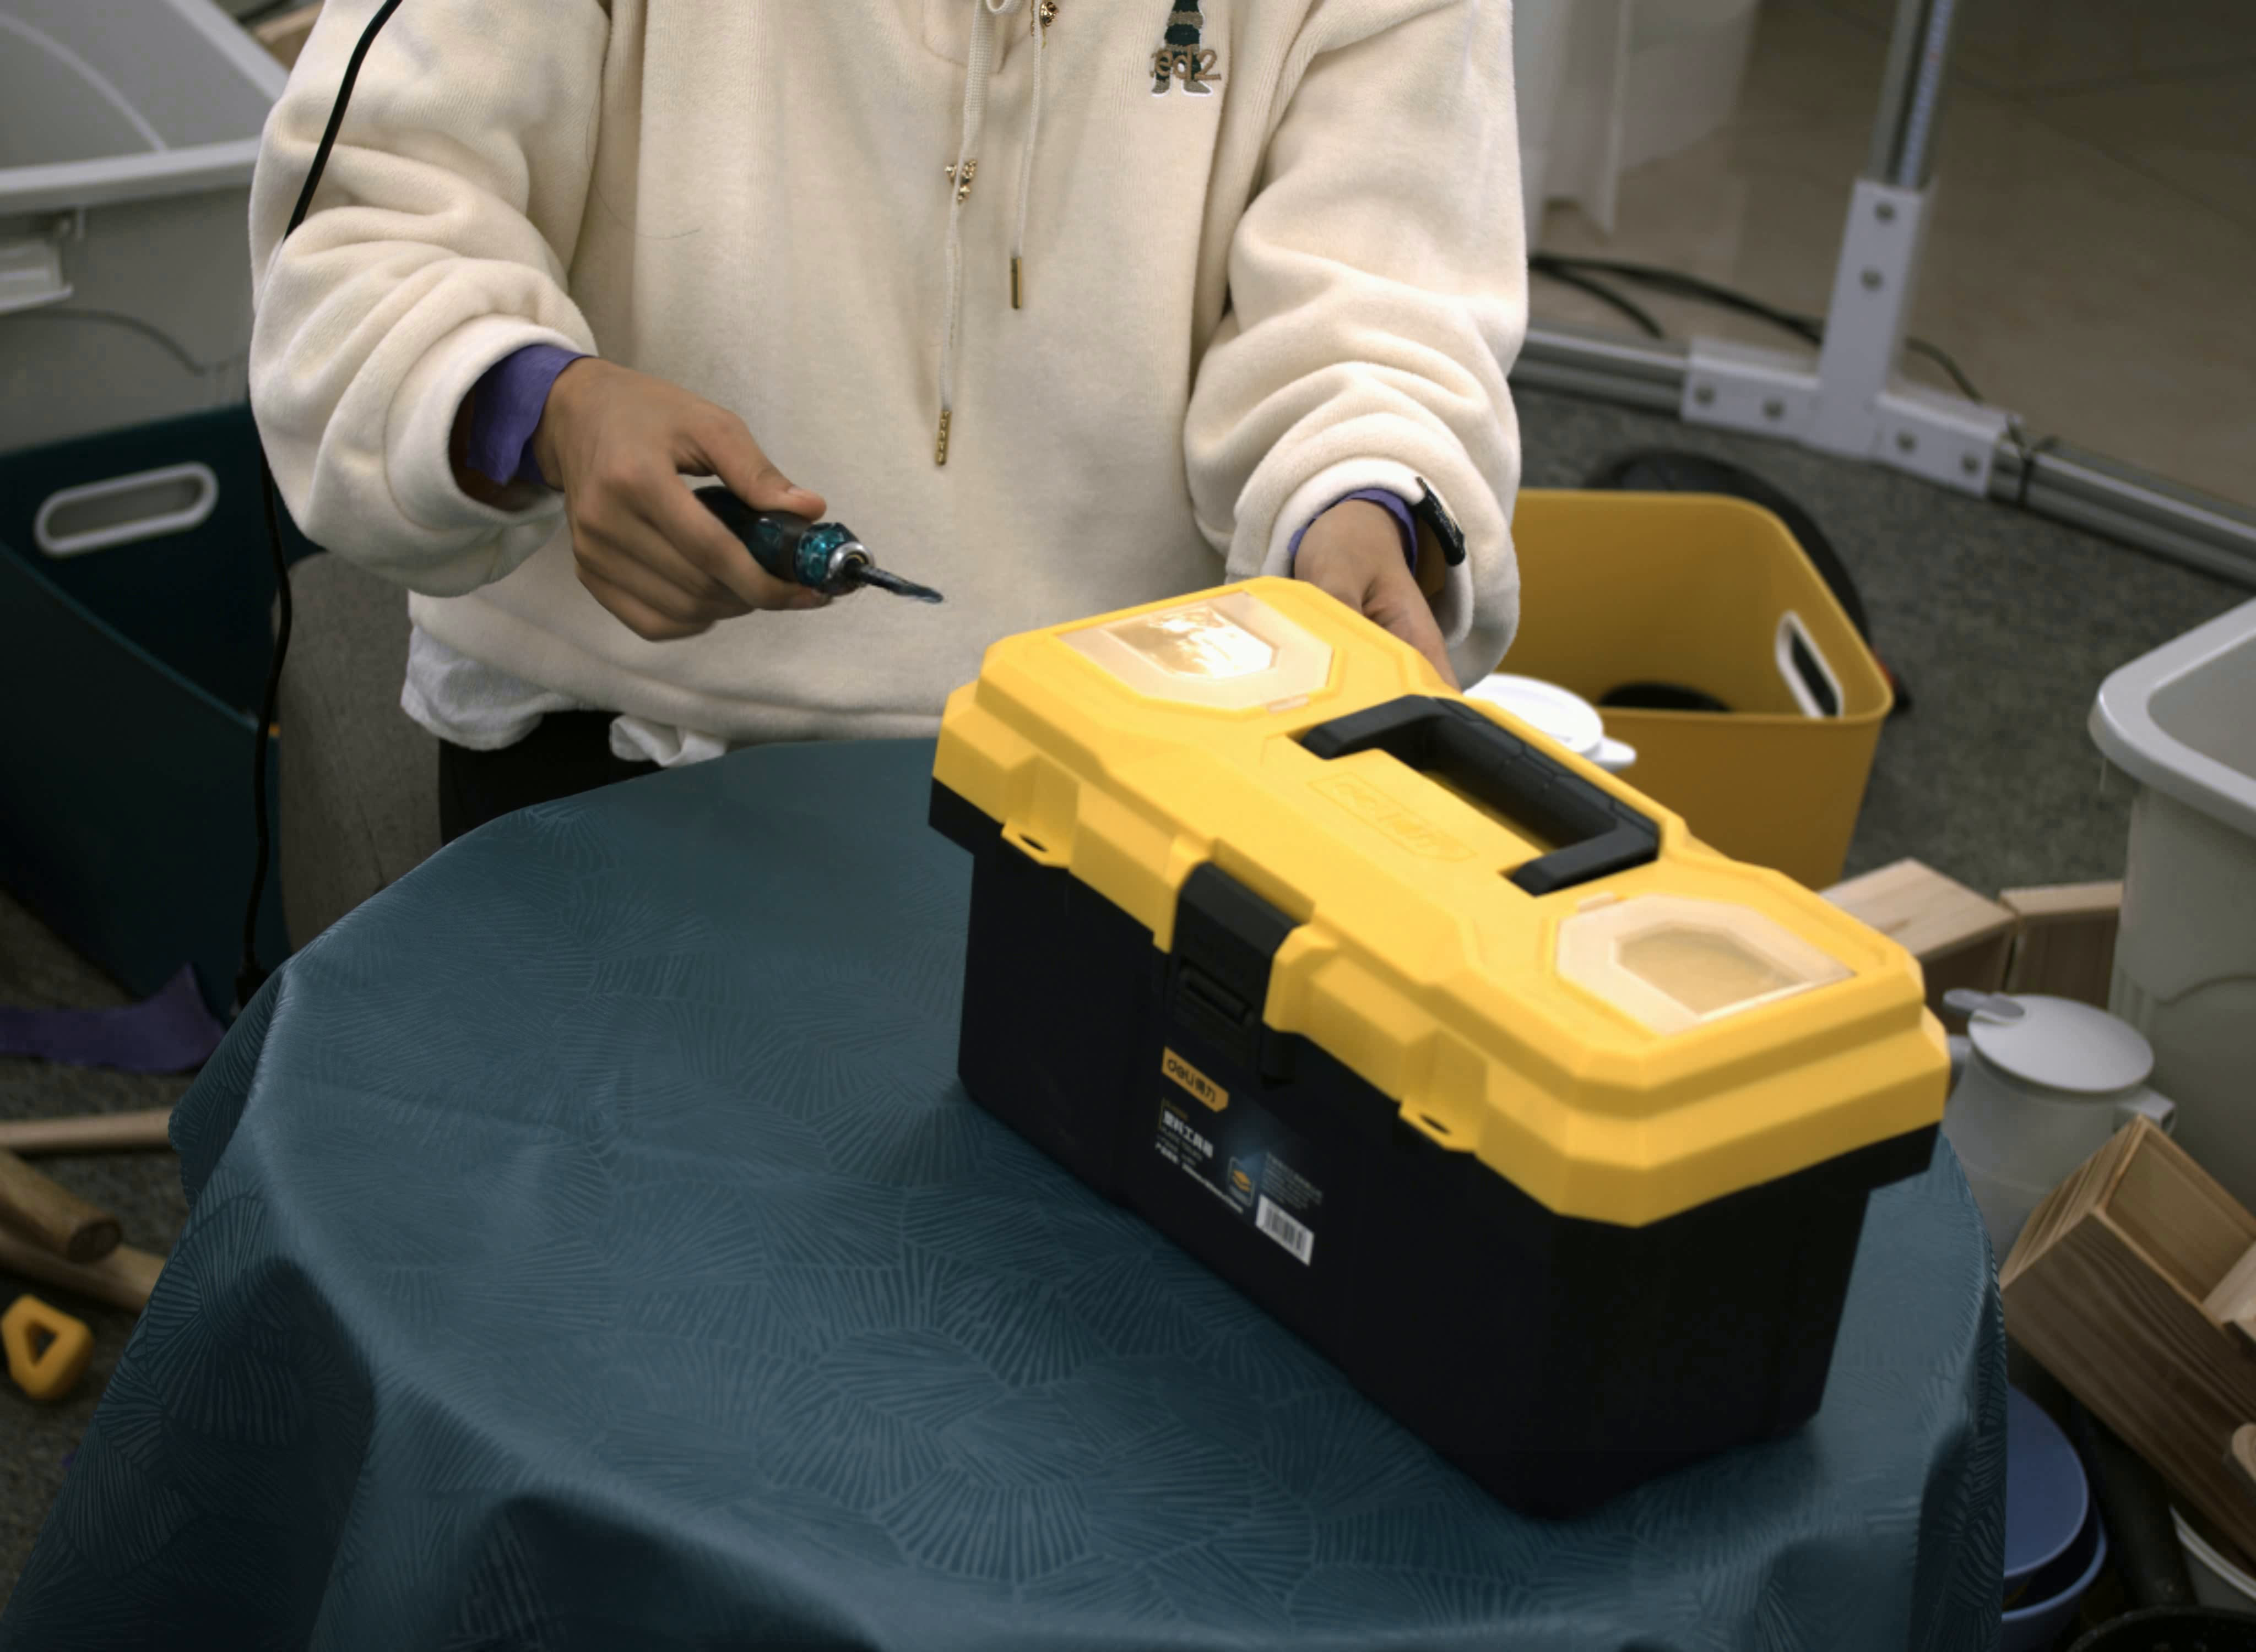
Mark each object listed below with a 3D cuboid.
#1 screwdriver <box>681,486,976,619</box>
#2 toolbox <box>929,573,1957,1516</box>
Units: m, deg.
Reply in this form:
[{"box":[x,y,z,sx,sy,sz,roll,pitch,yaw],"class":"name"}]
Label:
[{"box":[-0.103,-0.092,1.879,0.033,0.033,0.191,-10,18,-31],"class":"screwdriver"},{"box":[0.090,0.065,1.746,0.180,0.172,0.354,-14,33,-35],"class":"toolbox"}]
